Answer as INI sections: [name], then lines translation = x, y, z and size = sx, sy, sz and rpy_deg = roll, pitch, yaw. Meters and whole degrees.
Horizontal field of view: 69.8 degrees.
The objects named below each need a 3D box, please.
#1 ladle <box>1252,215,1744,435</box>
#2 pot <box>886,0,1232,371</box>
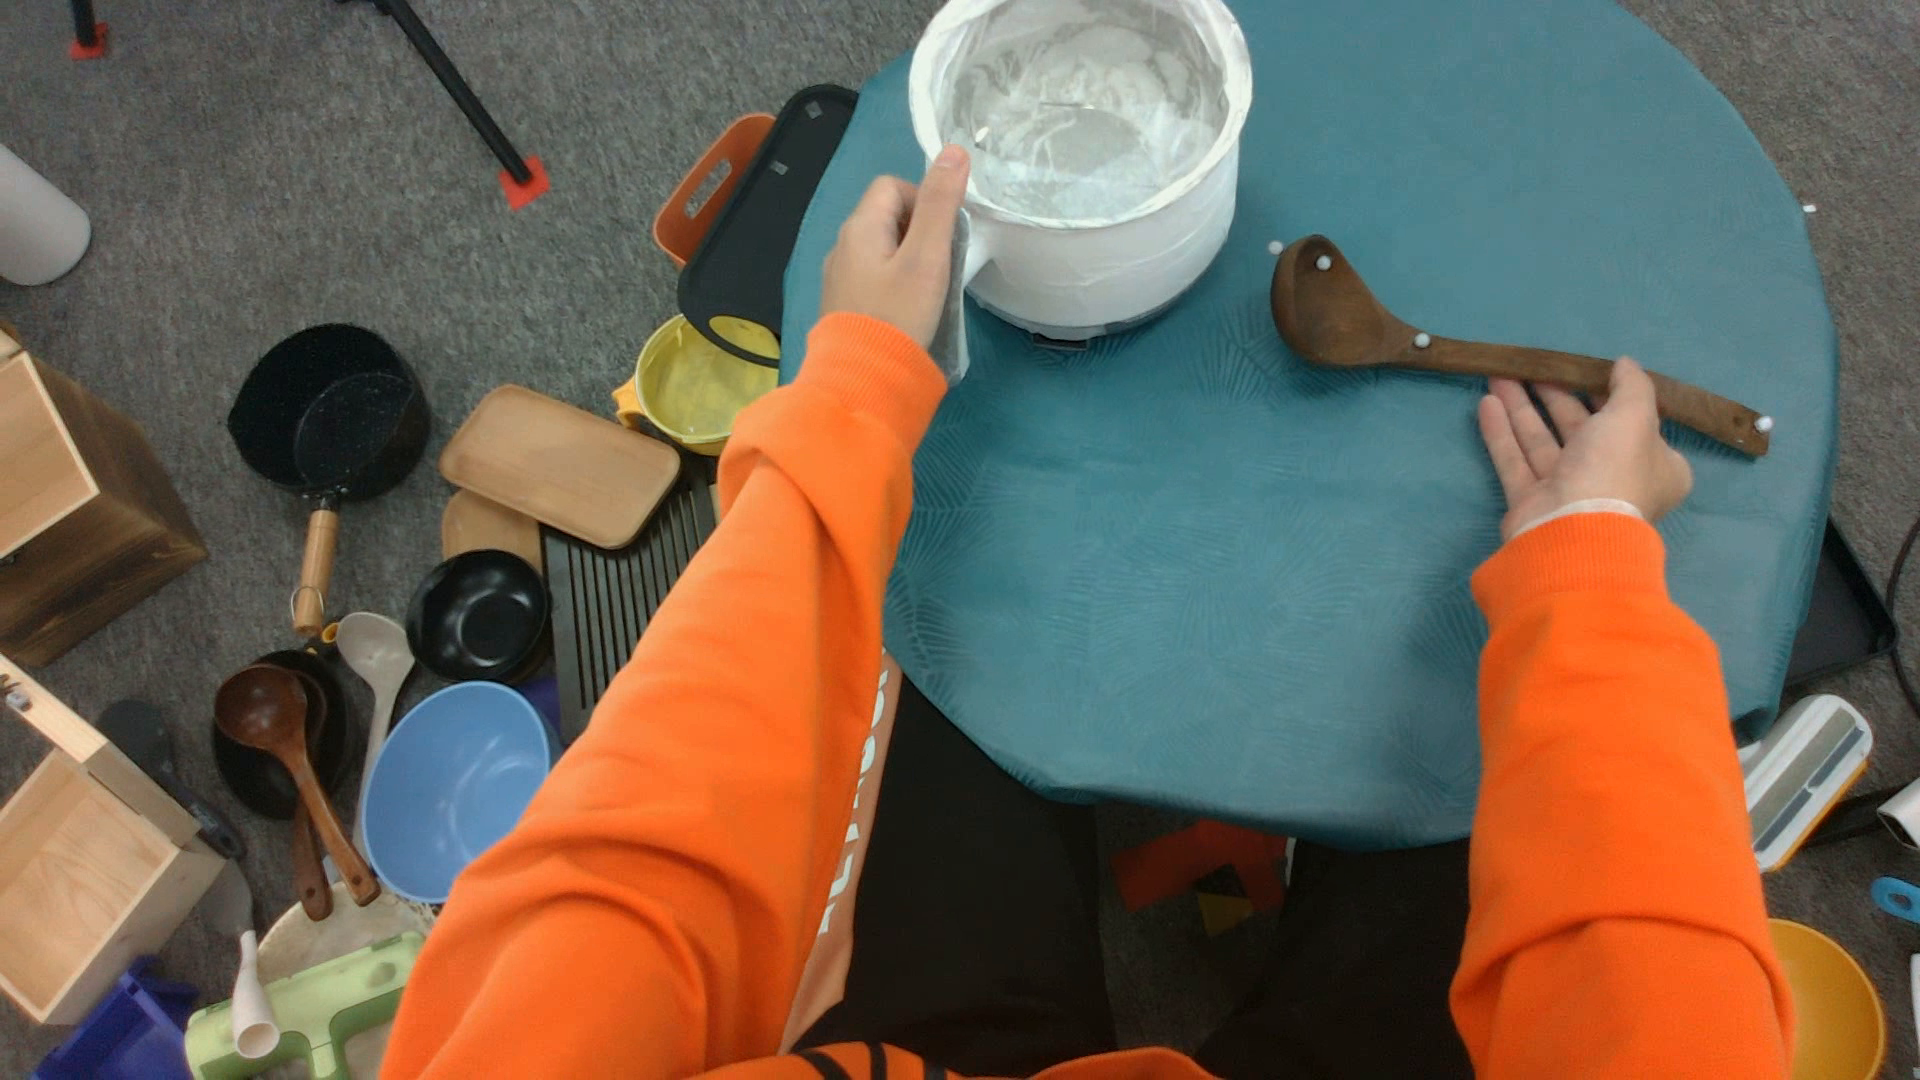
[ladle]
translation = 0.294, -0.114, 0.747
size = 0.274, 0.071, 0.076
rpy_deg = 15, 68, 11
[pot]
translation = 0.041, -0.202, 0.767
size = 0.179, 0.136, 0.234
rpy_deg = 35, 76, 17
